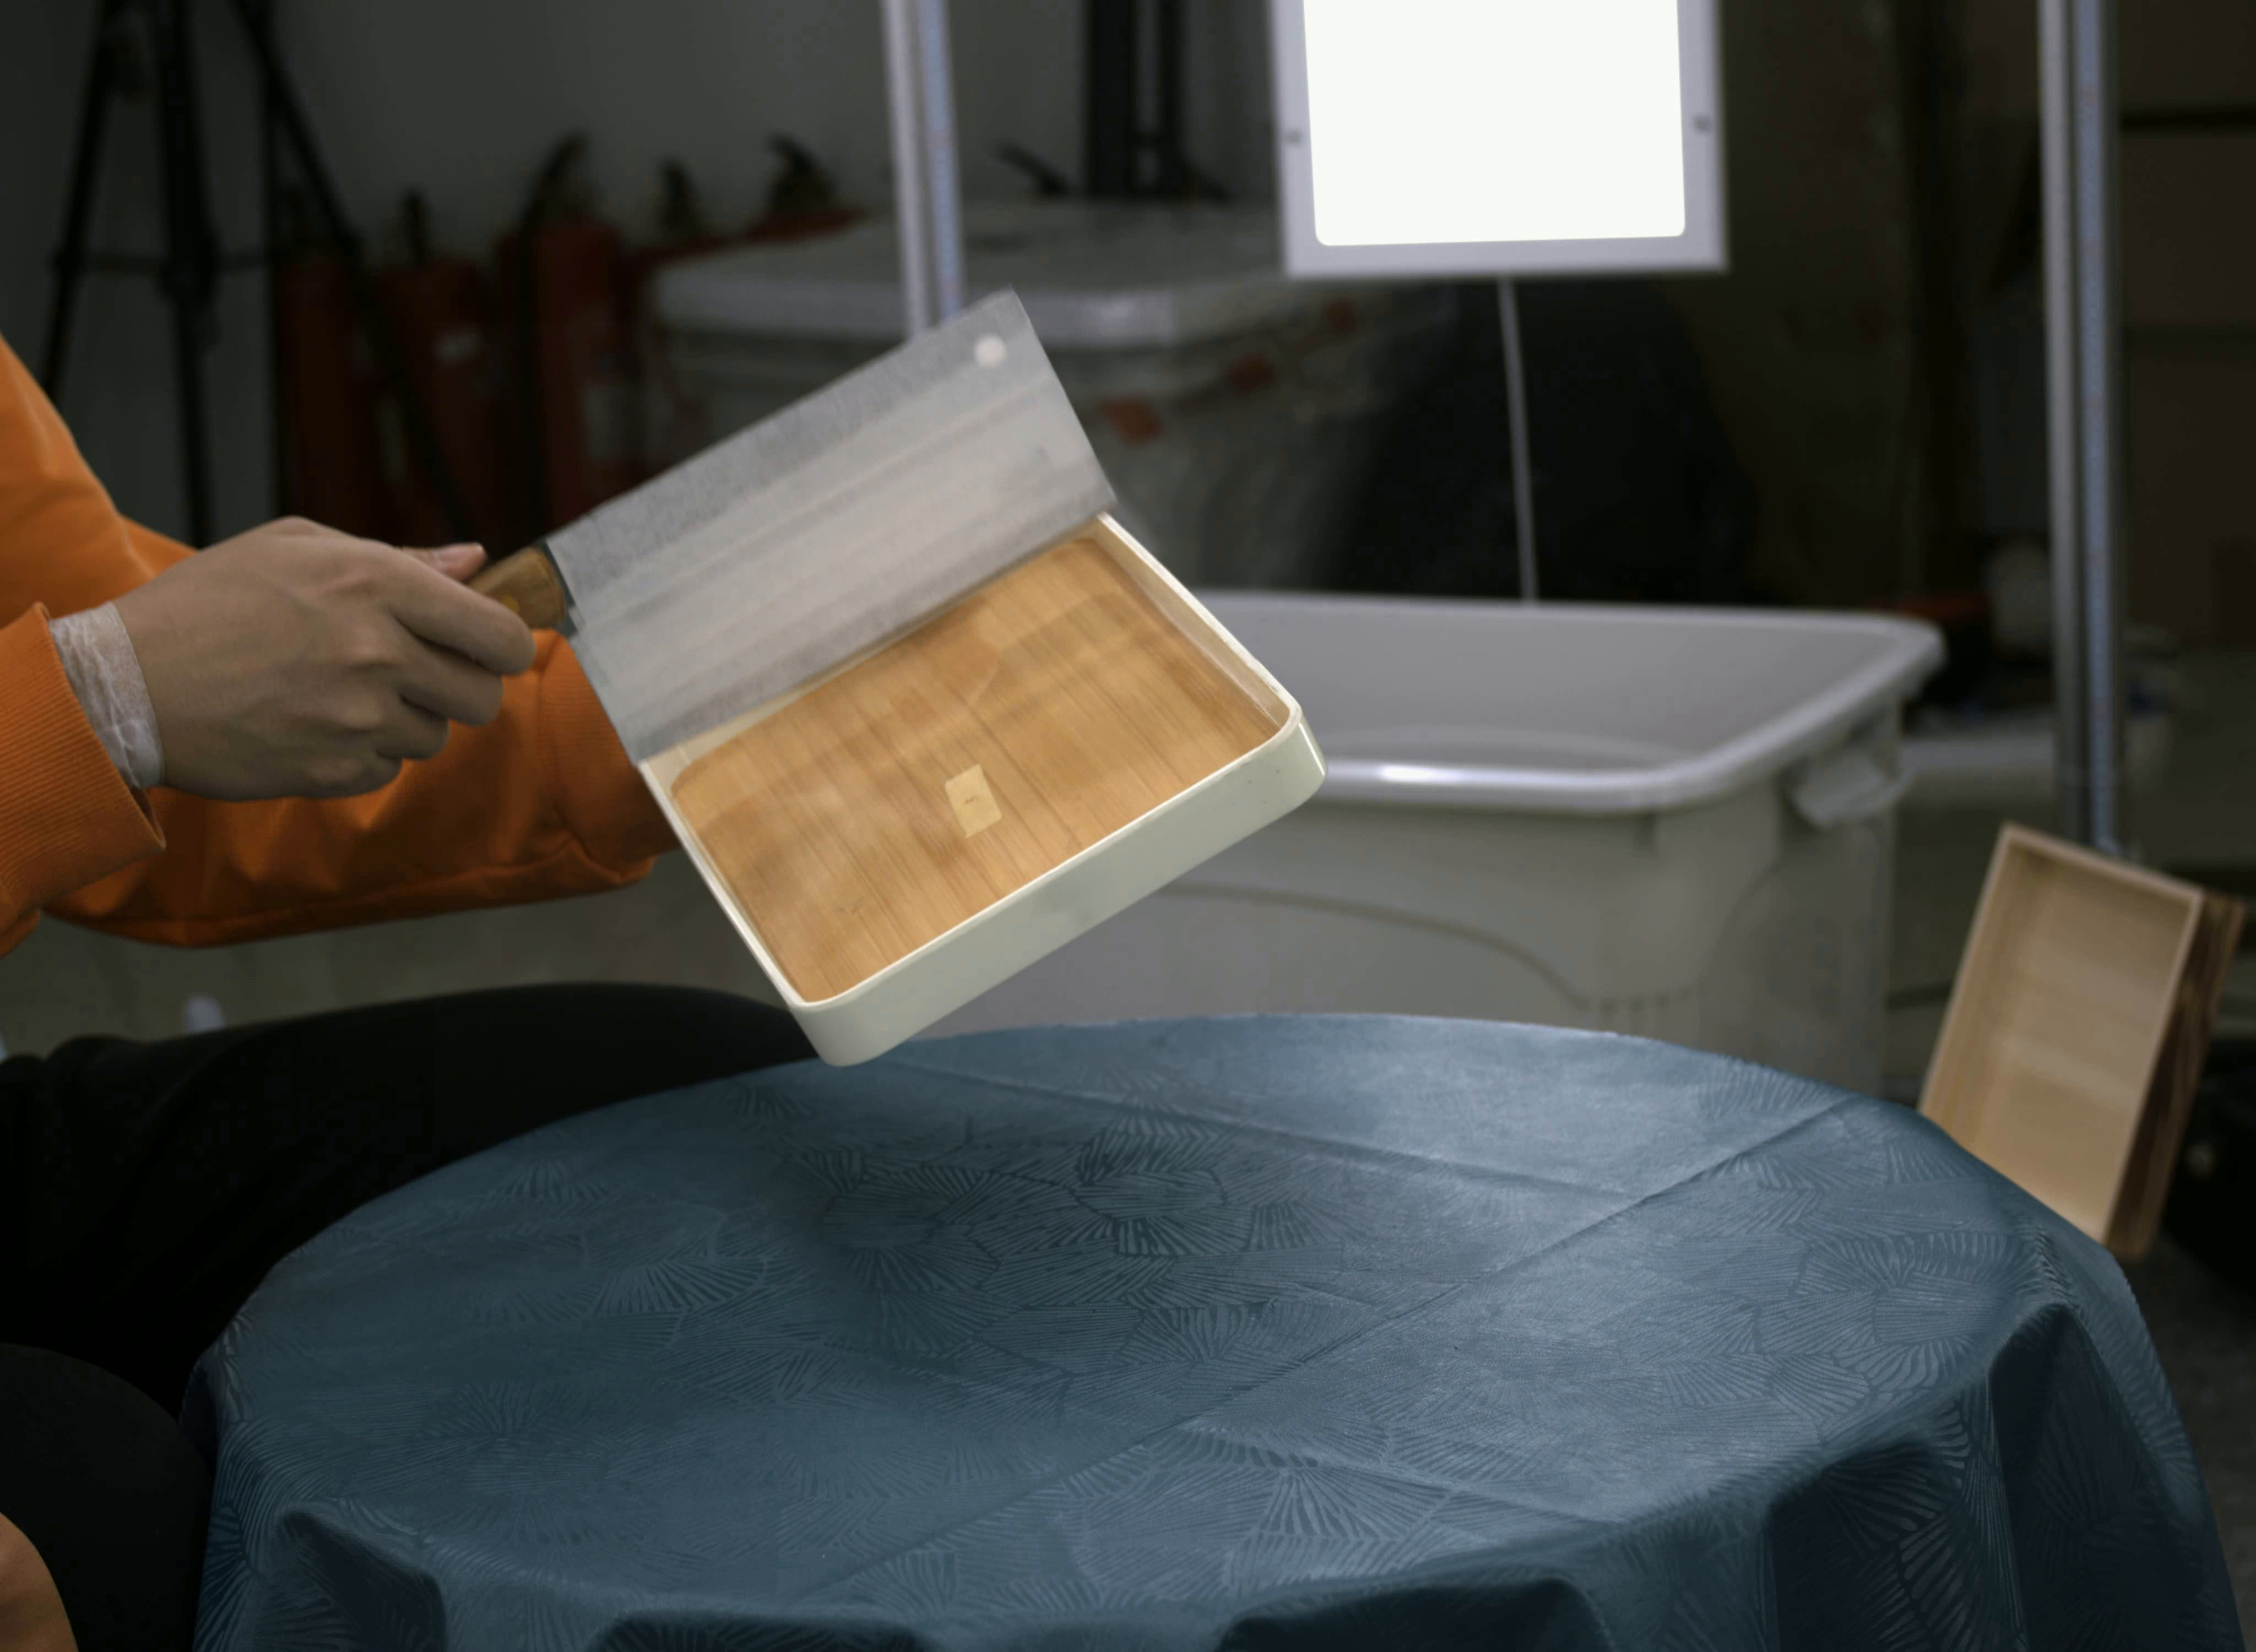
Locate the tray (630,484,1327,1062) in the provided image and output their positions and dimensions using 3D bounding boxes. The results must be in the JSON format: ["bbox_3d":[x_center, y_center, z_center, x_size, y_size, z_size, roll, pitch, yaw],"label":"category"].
[{"bbox_3d":[-0.057,-0.024,1.868,0.191,0.027,0.303,-31,24,-3],"label":"tray"}]

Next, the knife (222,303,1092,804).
[{"bbox_3d":[-0.154,-0.071,1.862,0.305,0.092,0.021,-28,26,0],"label":"knife"}]
